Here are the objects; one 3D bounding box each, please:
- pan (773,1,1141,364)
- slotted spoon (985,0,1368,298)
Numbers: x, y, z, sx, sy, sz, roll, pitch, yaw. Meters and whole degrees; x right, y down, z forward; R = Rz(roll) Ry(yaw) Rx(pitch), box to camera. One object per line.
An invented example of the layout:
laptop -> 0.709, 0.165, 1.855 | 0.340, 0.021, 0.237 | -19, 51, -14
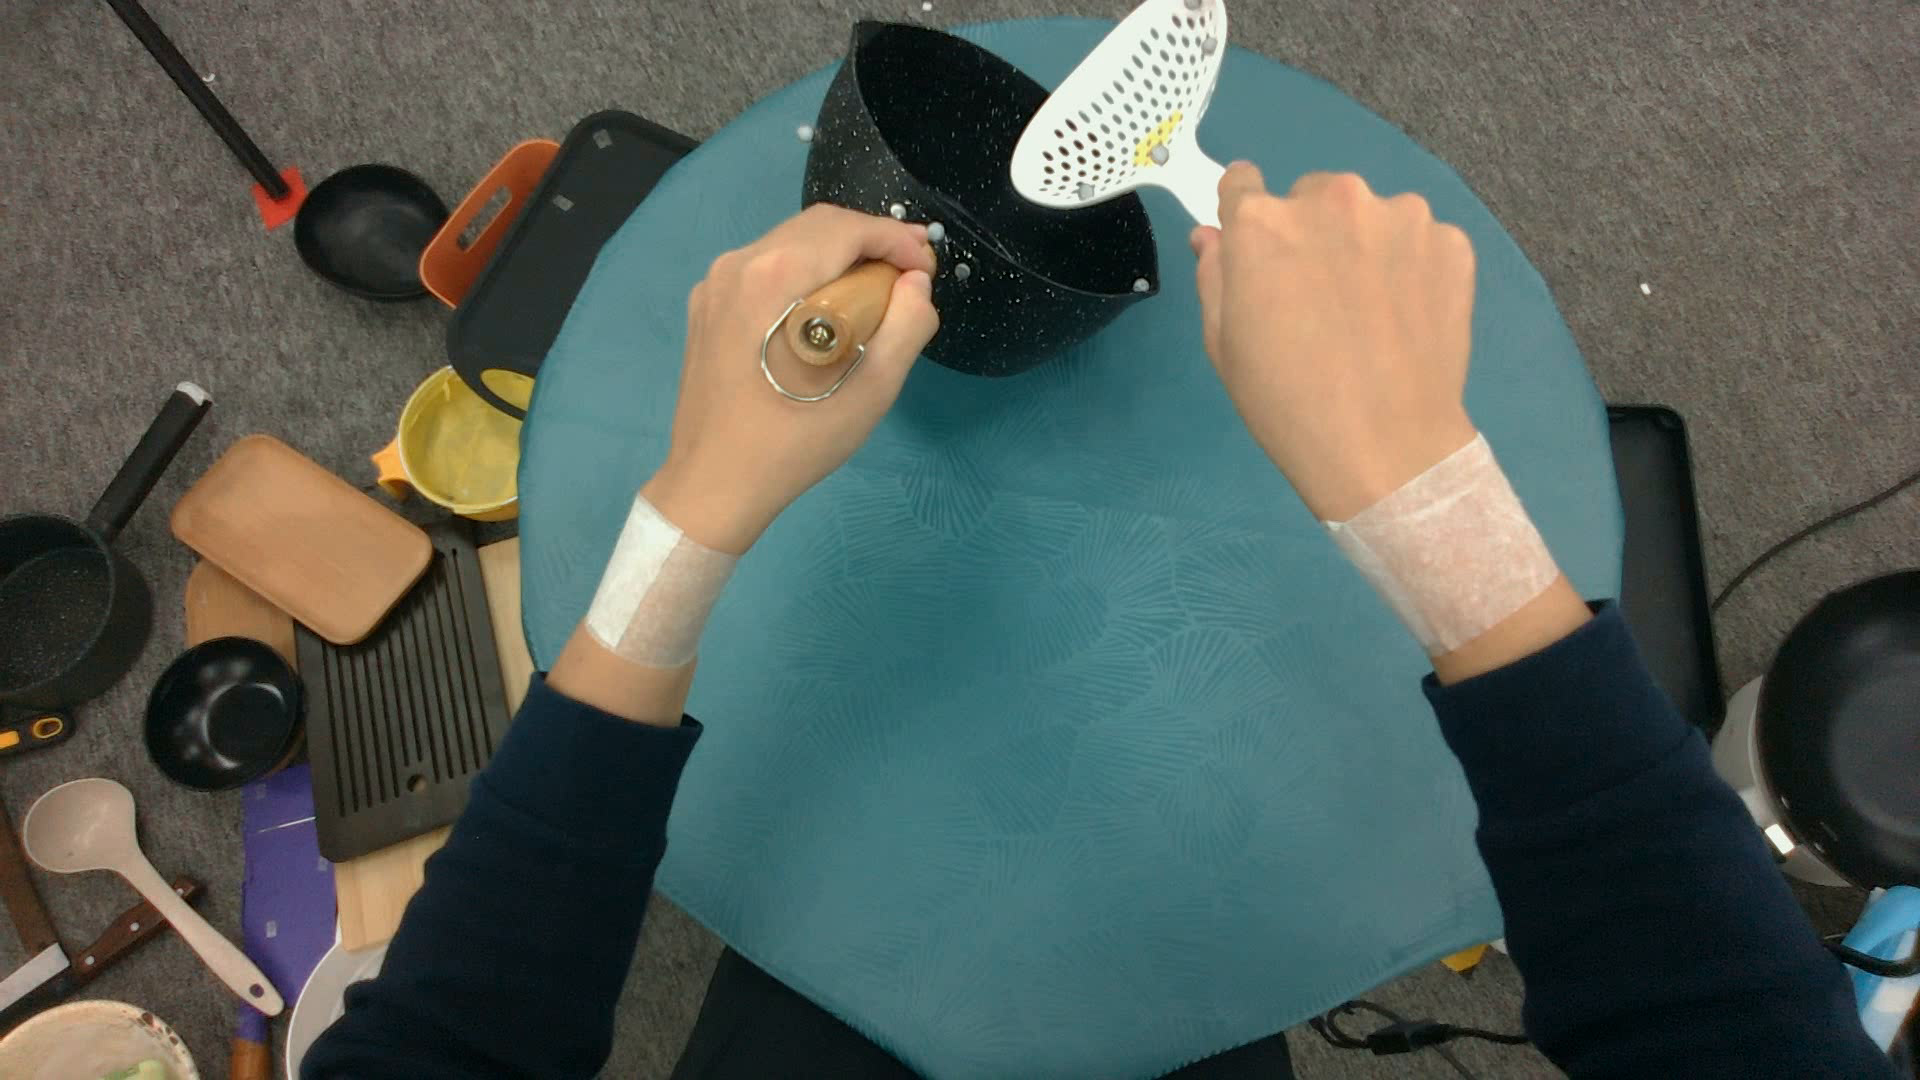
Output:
pan -> -0.025, -0.139, 0.642 | 0.207, 0.107, 0.344 | 40, 36, -8
slotted spoon -> 0.091, -0.174, 0.611 | 0.050, 0.349, 0.136 | 39, 106, -24
